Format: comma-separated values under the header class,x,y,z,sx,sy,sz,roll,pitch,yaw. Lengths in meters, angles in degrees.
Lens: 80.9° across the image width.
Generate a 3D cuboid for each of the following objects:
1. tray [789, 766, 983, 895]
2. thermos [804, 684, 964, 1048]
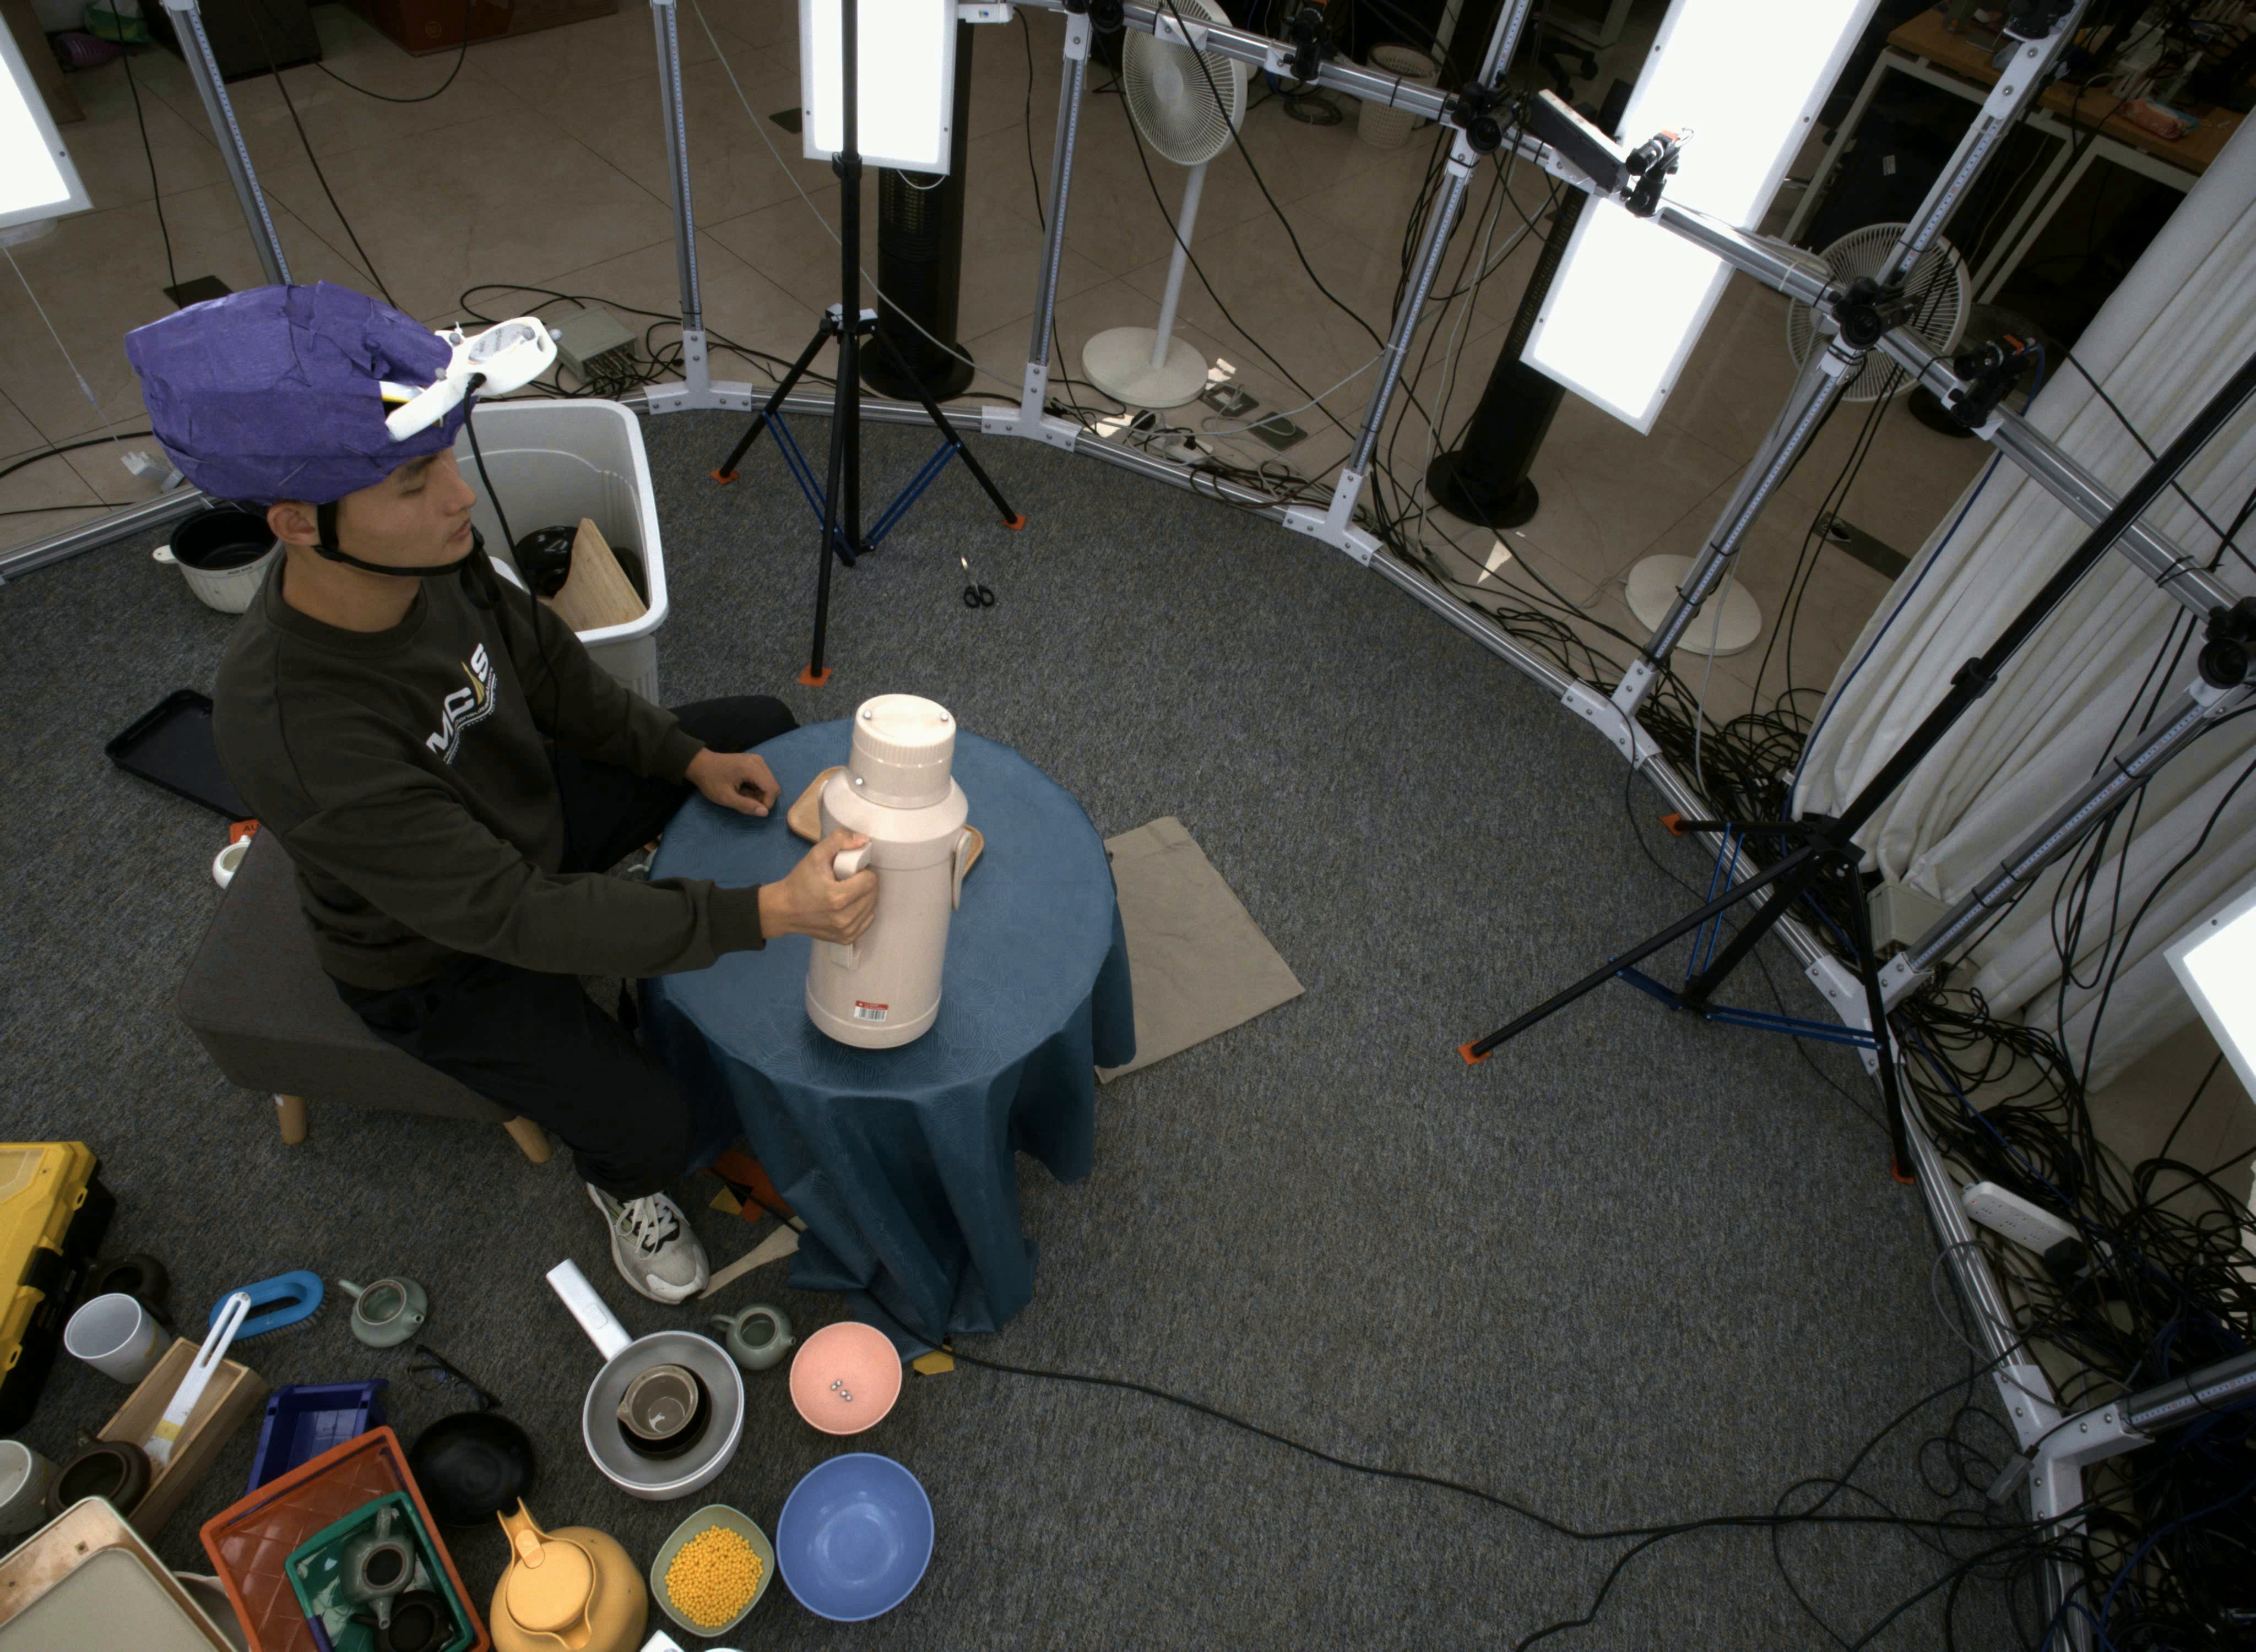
class,x,y,z,sx,sy,sz,roll,pitch,yaw
tray,-0.323,0.007,1.744,0.247,0.023,0.130,25,50,7
thermos,-0.282,0.053,1.447,0.172,0.416,0.205,19,34,7
